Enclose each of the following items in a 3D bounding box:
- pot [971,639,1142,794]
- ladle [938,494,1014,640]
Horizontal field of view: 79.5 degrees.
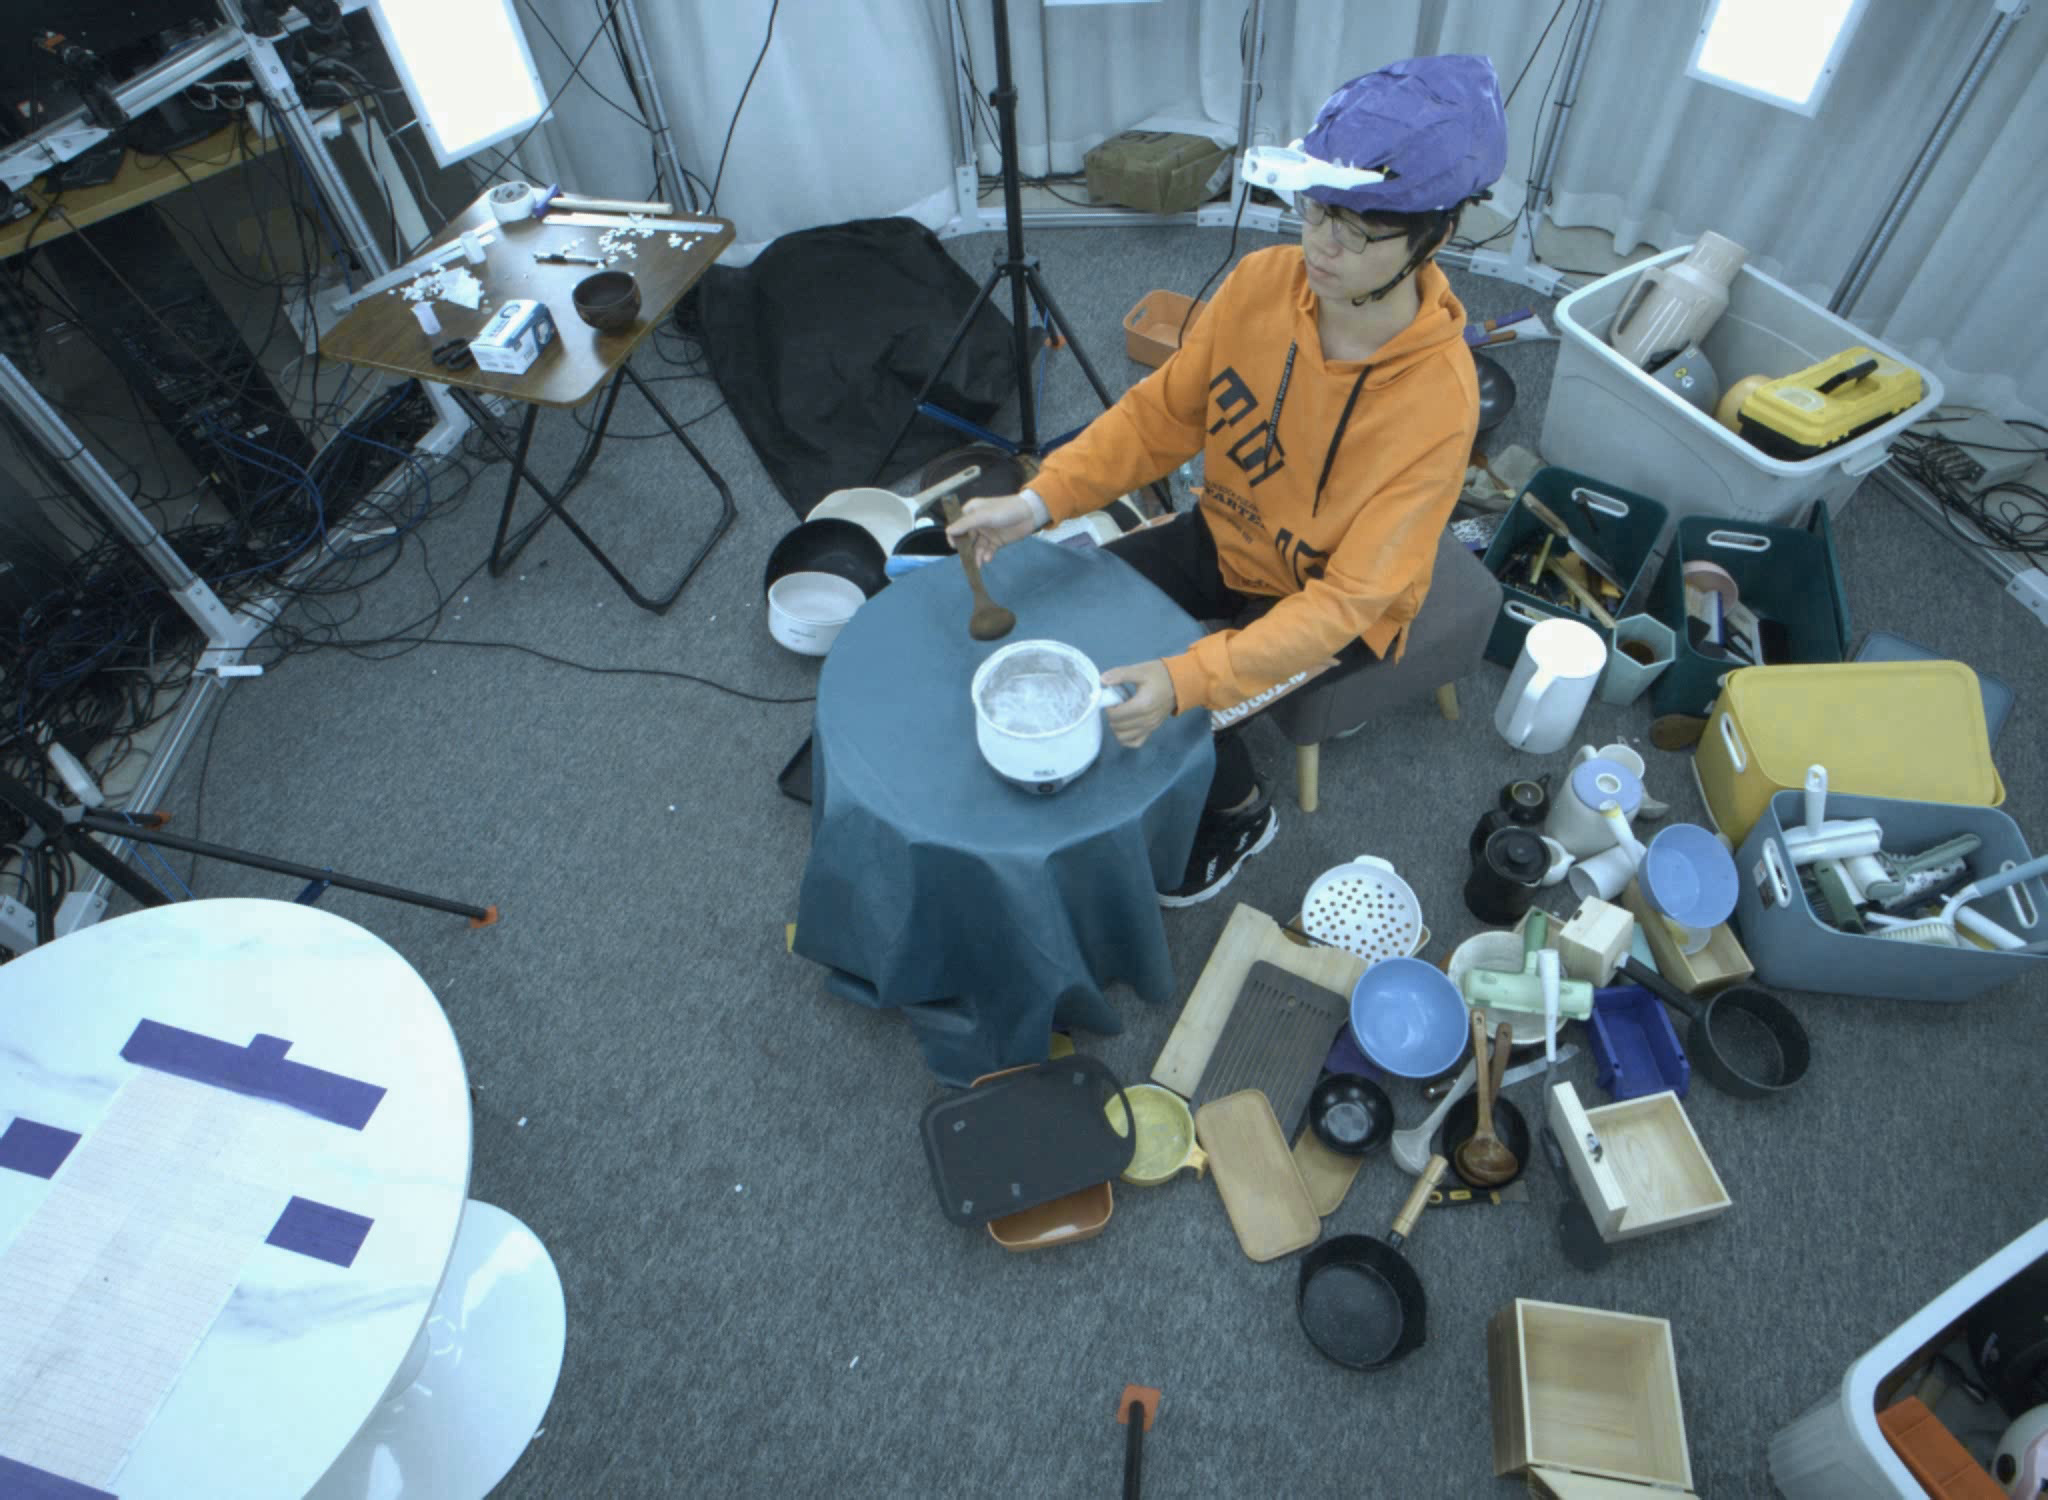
[{"bbox_3d":[0.048,-0.049,1.721,0.234,0.138,0.176,-7,54,-2],"label":"pot"},{"bbox_3d":[-0.083,-0.283,1.822,0.076,0.071,0.271,-16,74,-7],"label":"ladle"}]
